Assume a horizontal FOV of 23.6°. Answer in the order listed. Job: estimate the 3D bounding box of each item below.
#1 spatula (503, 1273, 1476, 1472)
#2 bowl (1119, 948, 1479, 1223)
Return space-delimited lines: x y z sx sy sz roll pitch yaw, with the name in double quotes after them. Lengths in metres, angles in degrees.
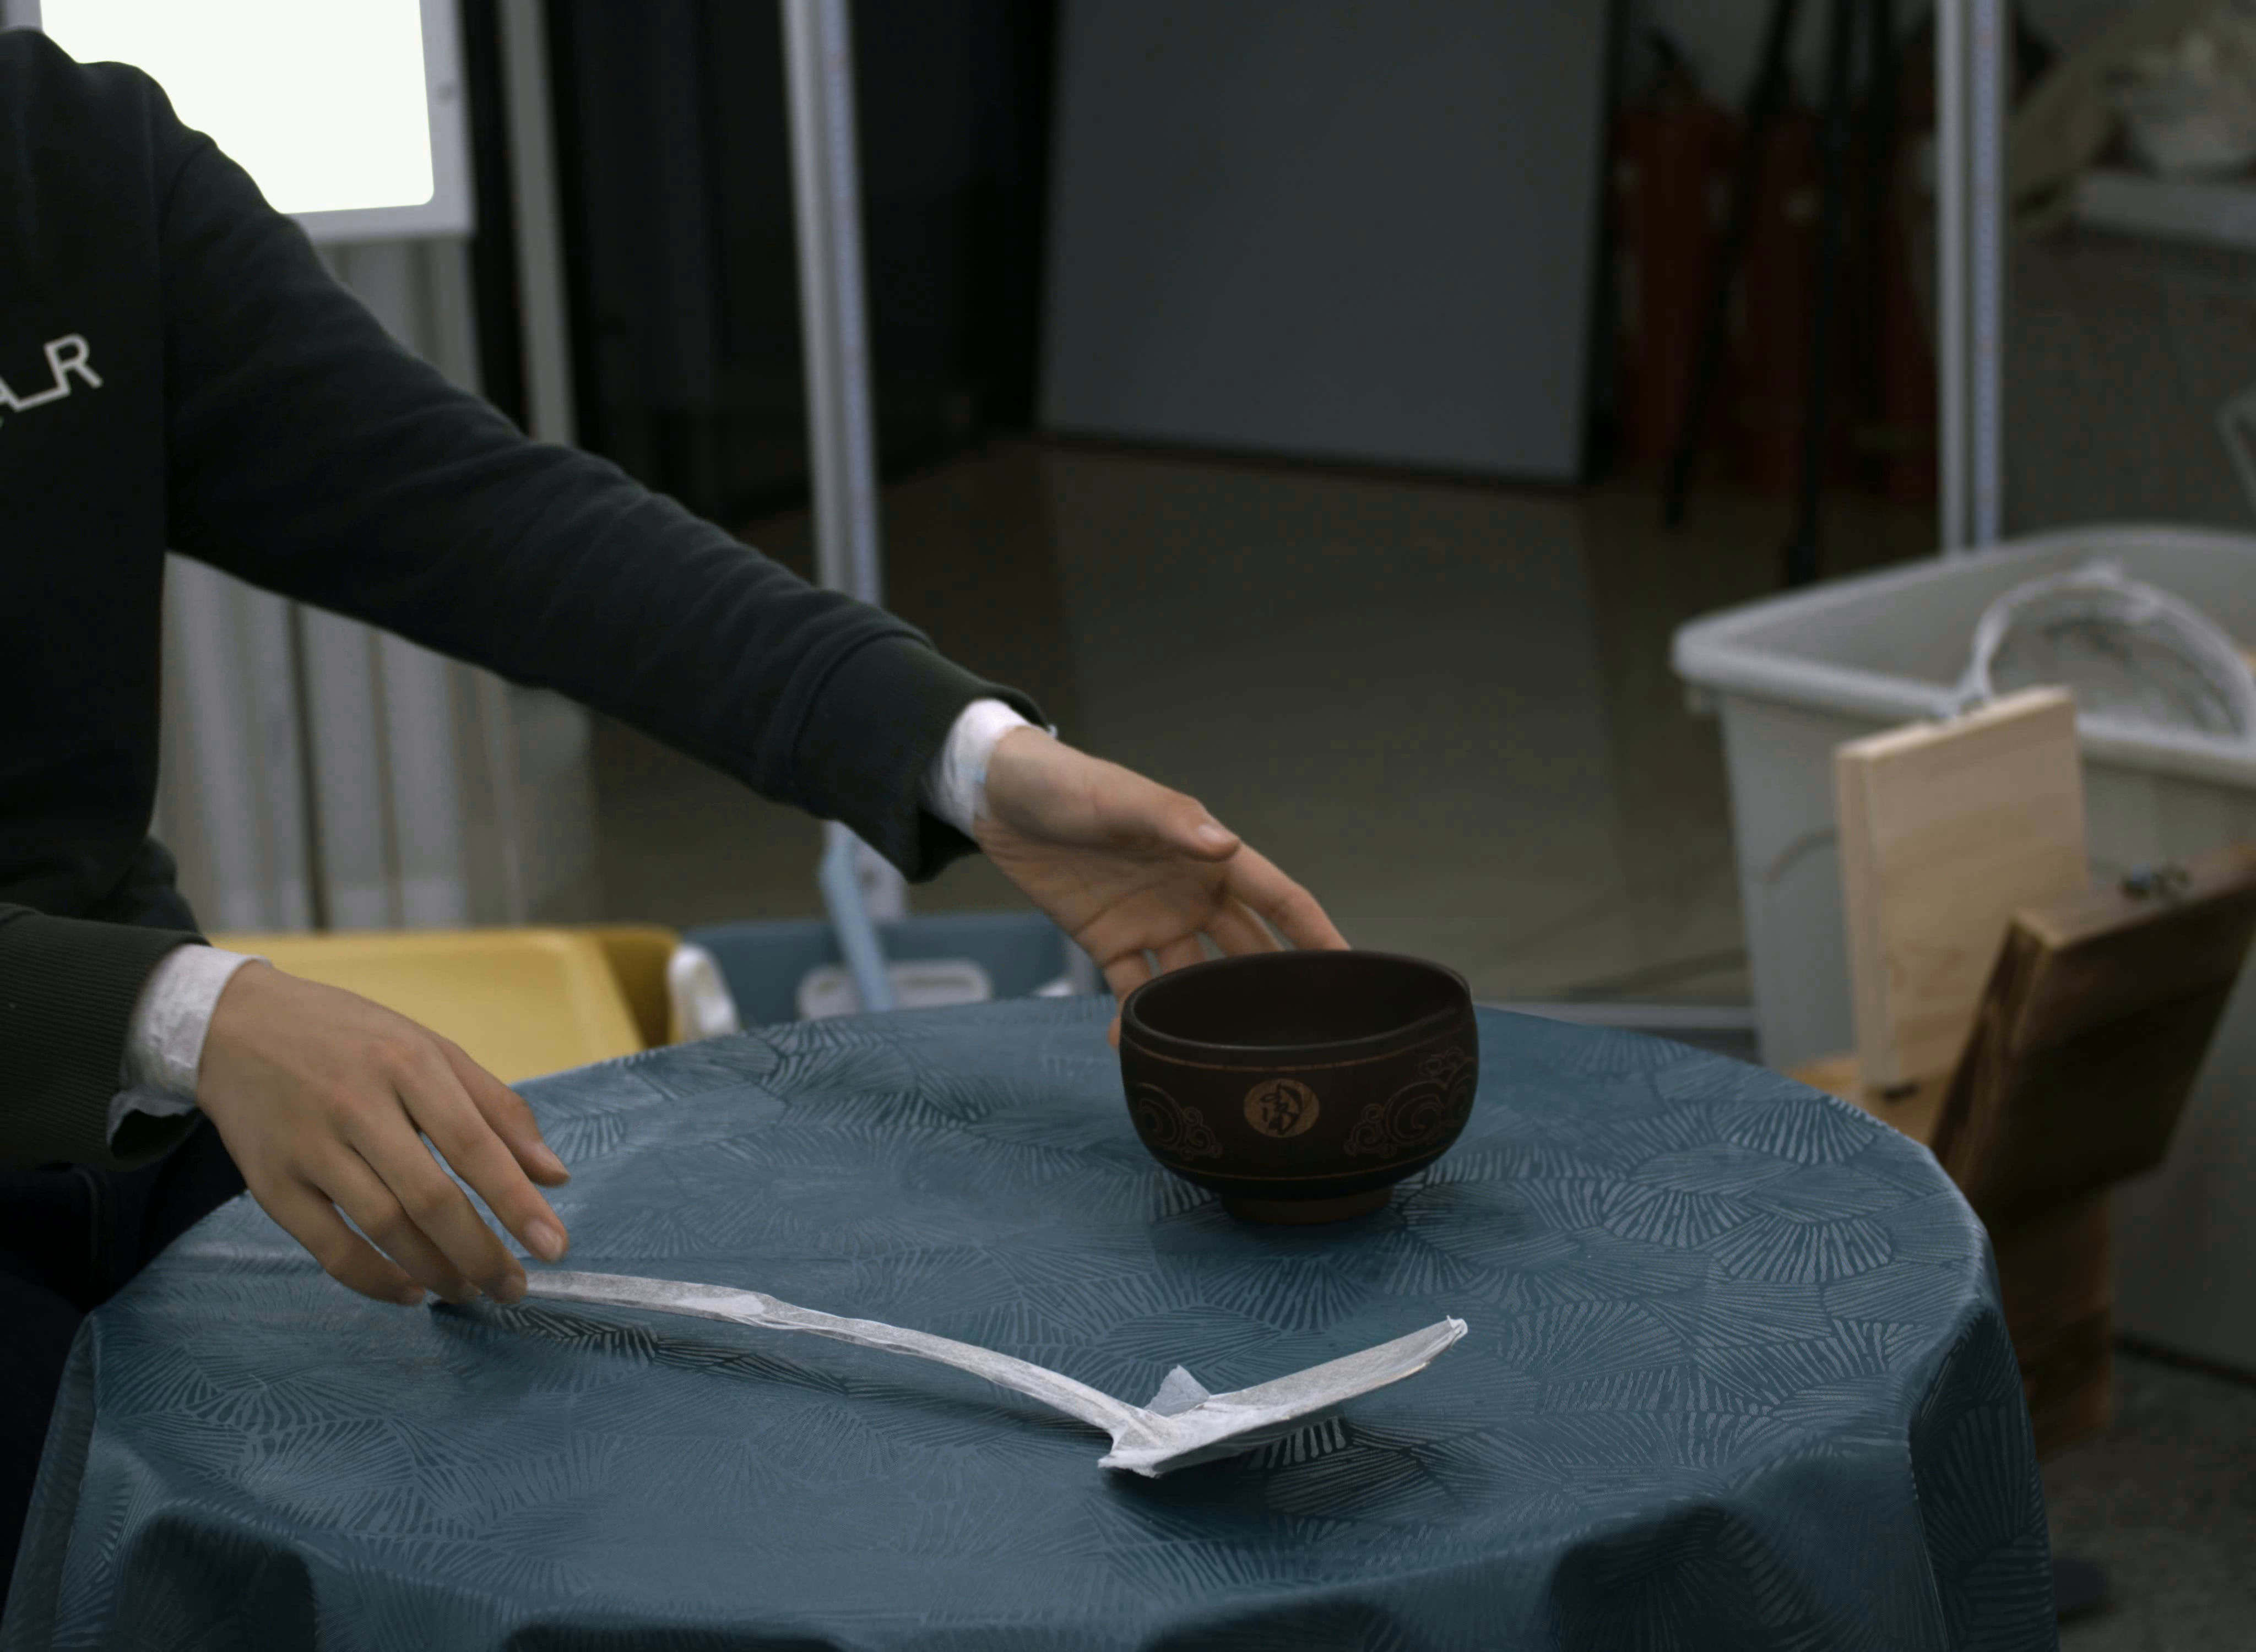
-0.061 0.149 1.596 0.367 0.045 0.097 7 20 38 "spatula"
0.056 0.087 1.743 0.116 0.070 0.118 -4 12 0 "bowl"
